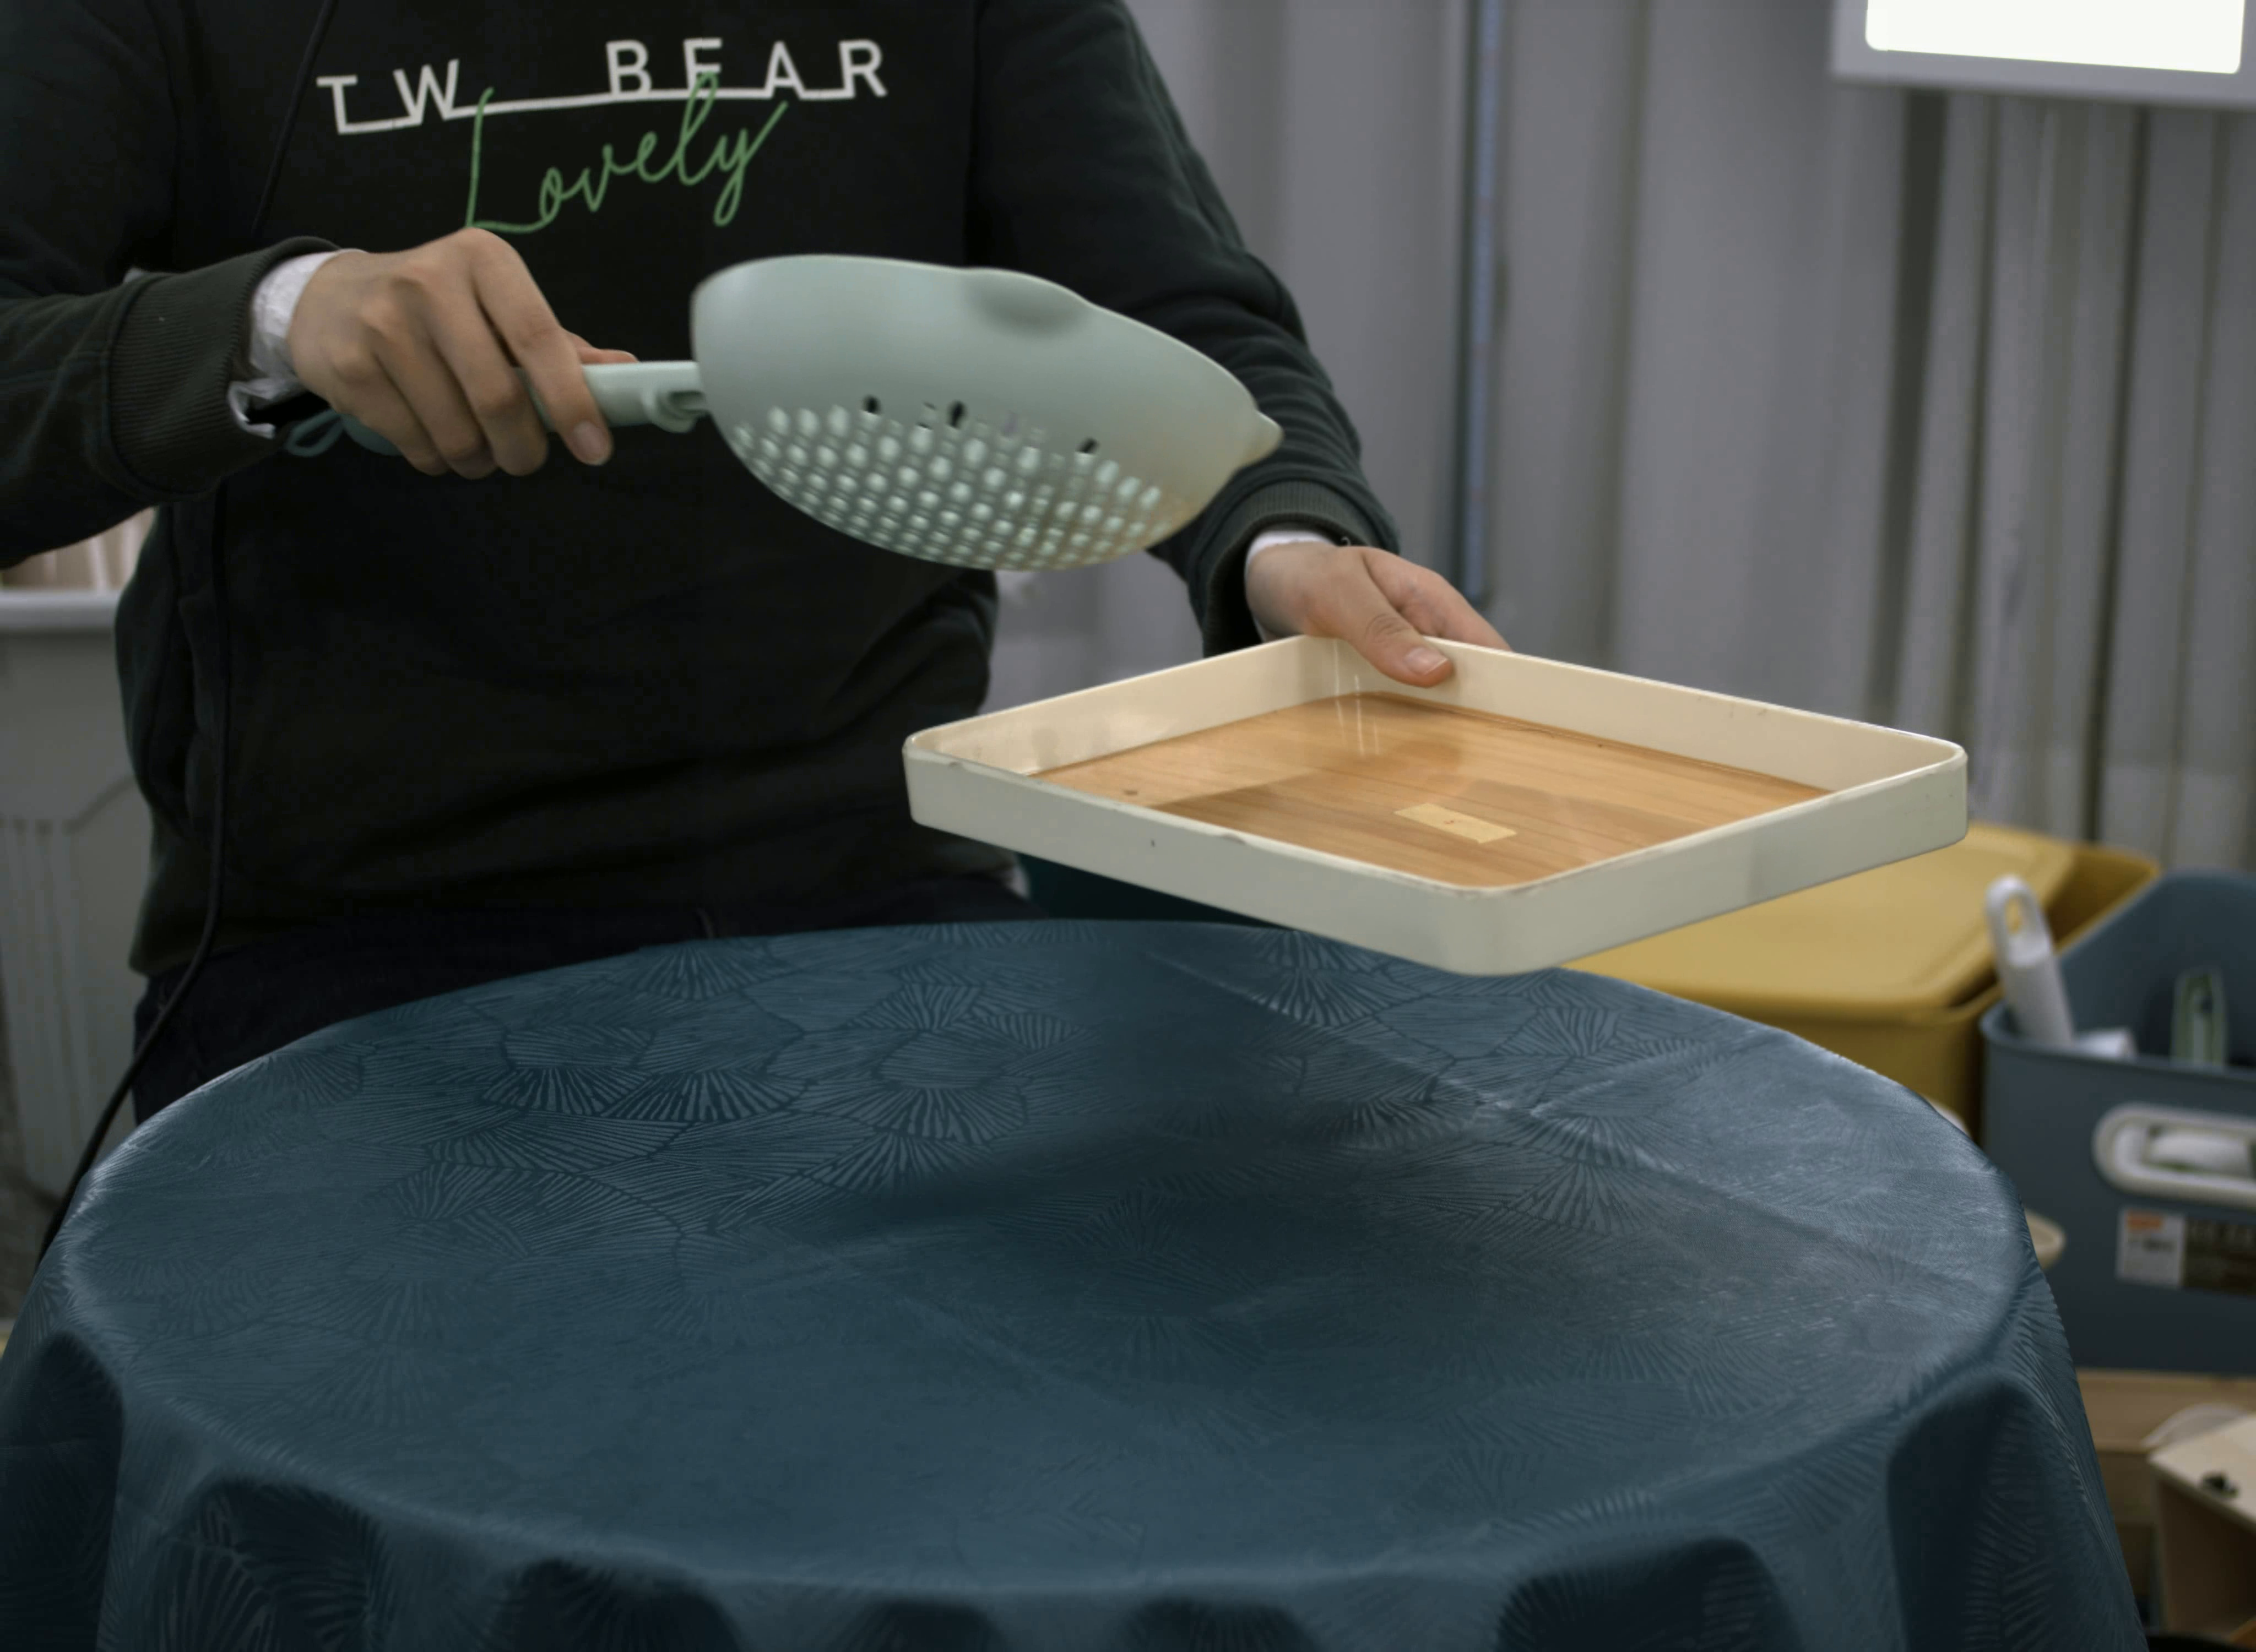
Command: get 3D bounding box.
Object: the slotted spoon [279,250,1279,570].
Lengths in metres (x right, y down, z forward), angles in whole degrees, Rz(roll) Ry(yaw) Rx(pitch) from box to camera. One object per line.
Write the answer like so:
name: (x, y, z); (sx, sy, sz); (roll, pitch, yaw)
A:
slotted spoon: (-0.125, -0.130, 1.599); (0.354, 0.075, 0.171); (13, -10, 38)

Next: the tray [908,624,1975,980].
tray: (0.088, -0.011, 1.577); (0.192, 0.027, 0.296); (-15, 18, -33)
